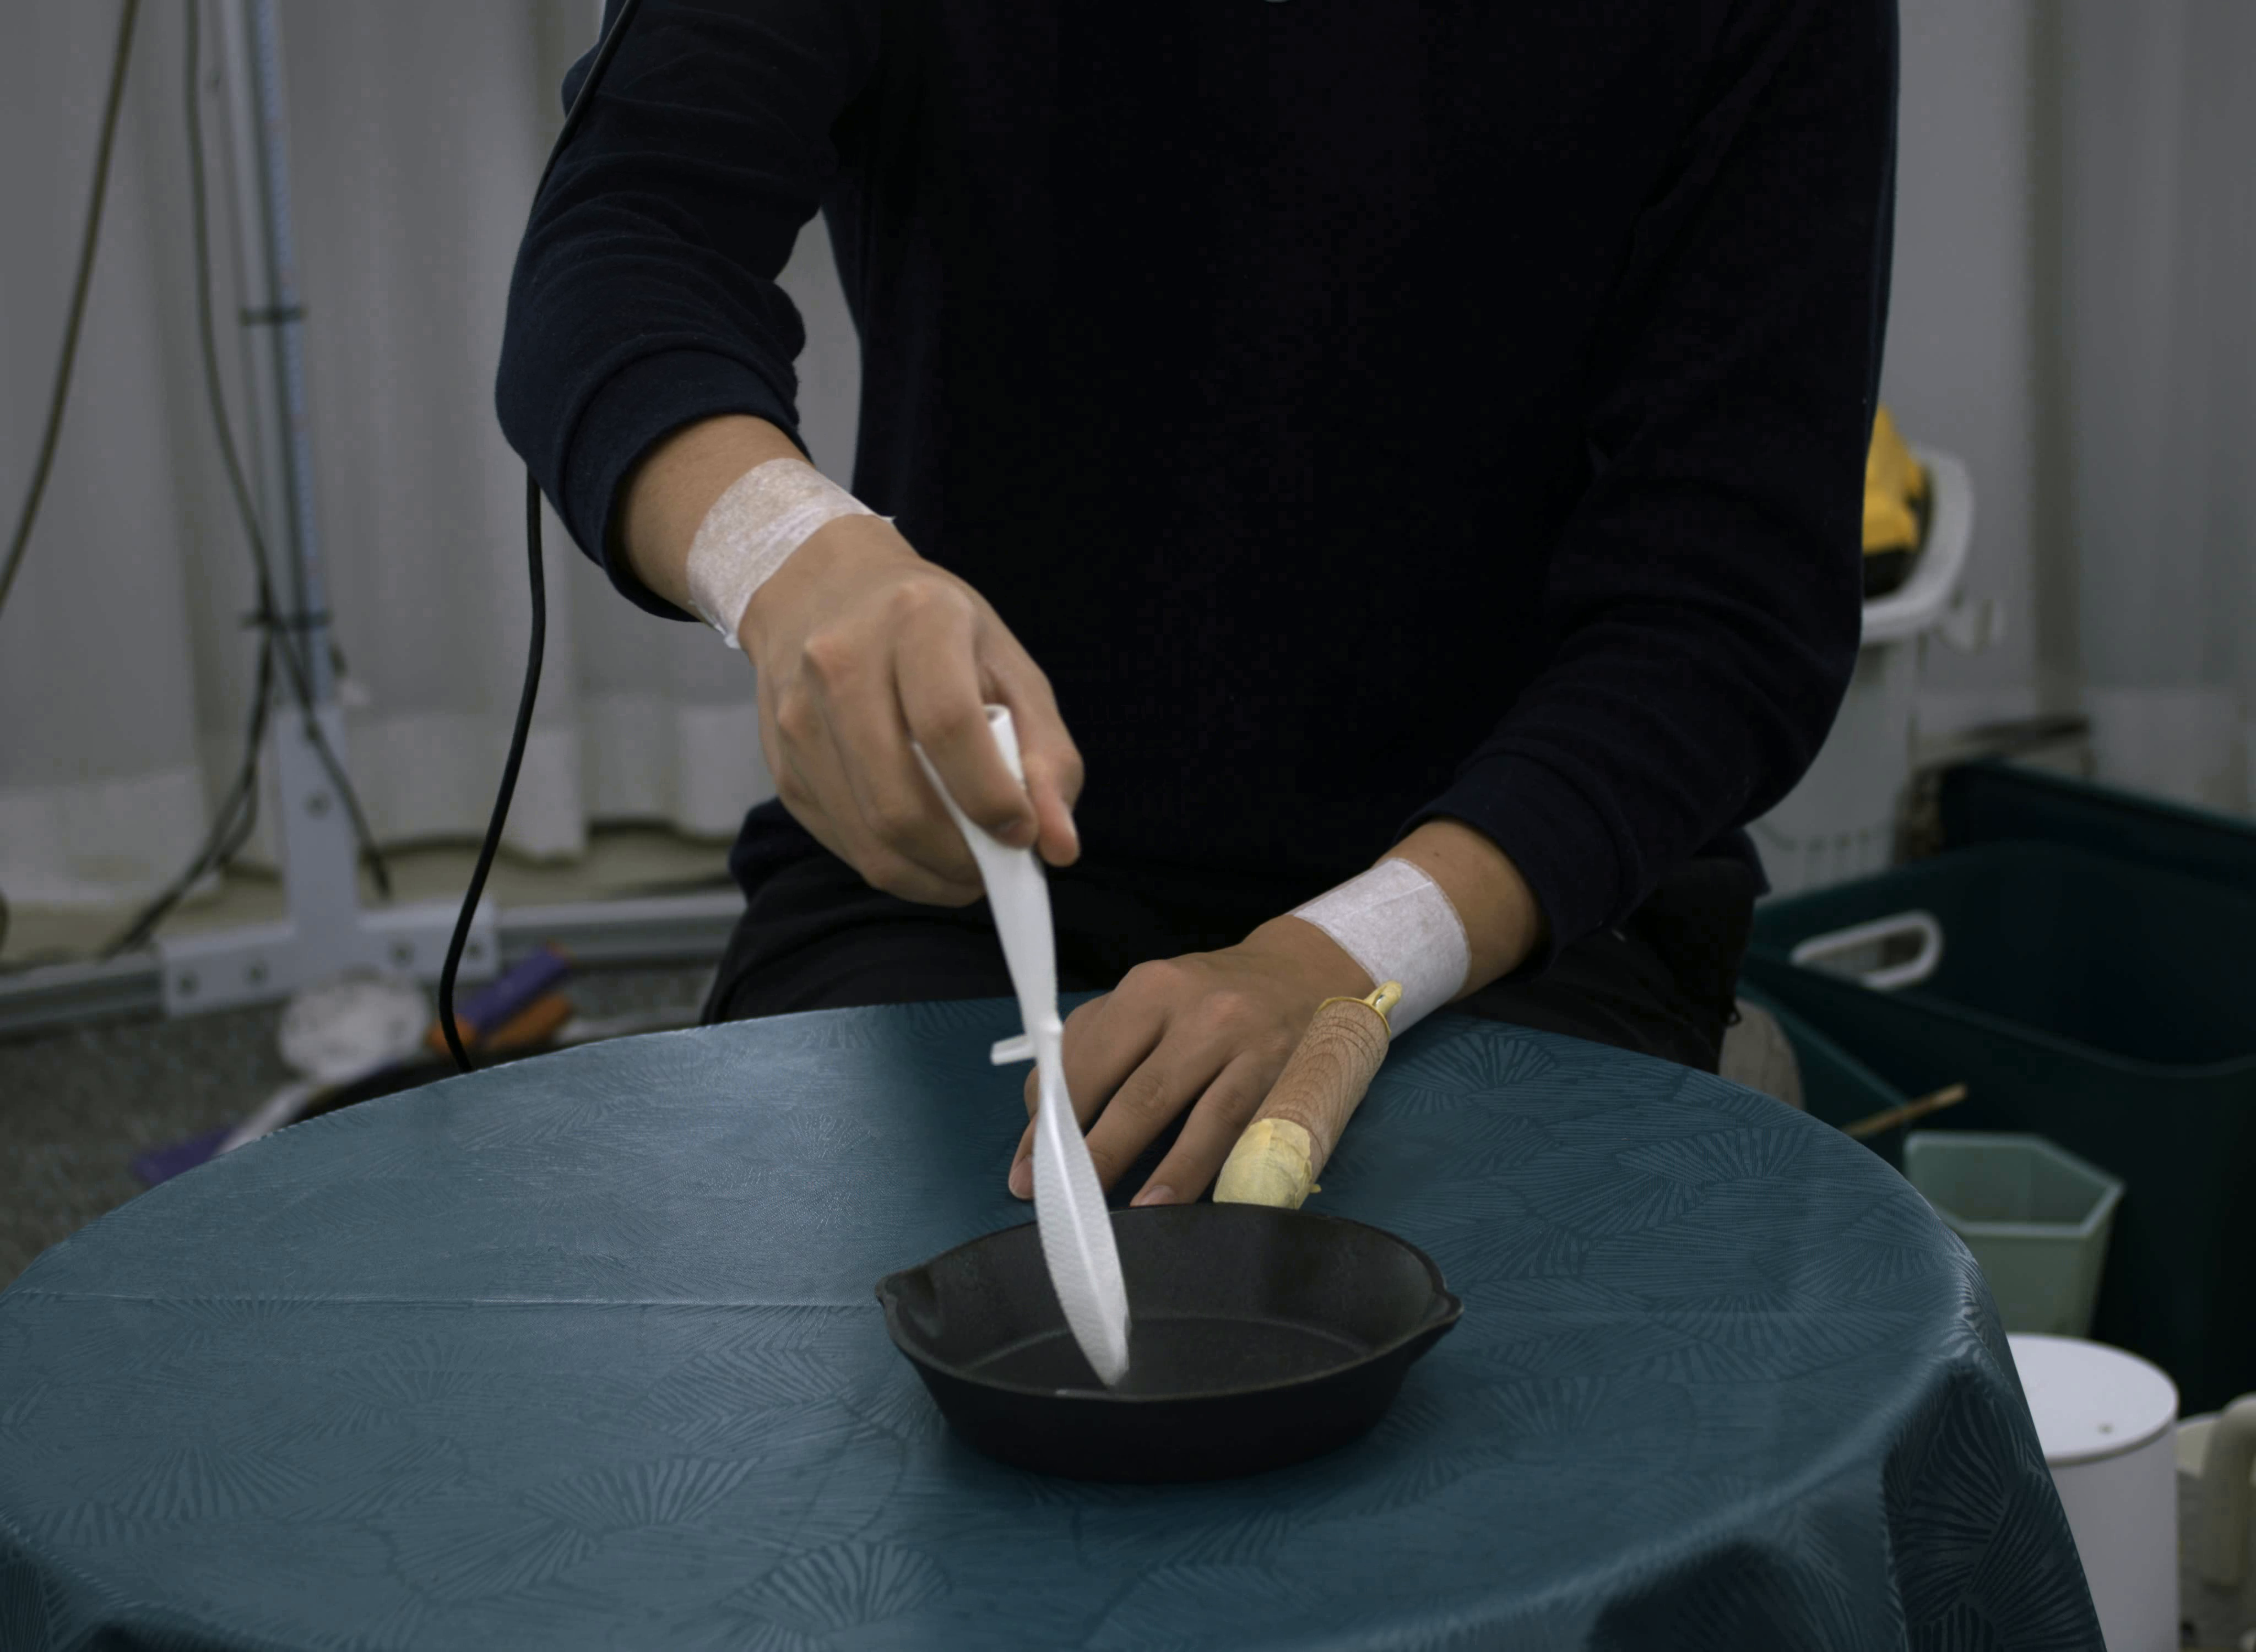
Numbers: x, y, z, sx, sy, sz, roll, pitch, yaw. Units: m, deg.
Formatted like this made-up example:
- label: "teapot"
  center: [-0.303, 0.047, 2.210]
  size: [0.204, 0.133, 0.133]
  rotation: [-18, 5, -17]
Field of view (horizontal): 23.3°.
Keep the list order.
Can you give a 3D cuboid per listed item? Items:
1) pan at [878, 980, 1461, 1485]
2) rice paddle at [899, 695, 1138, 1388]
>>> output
- label: "pan"
  center: [0.036, 0.116, 1.607]
  size: [0.169, 0.049, 0.325]
  rotation: [2, 17, 18]
- label: "rice paddle"
  center: [-0.021, 0.064, 1.503]
  size: [0.029, 0.204, 0.069]
  rotation: [-14, 14, 6]
